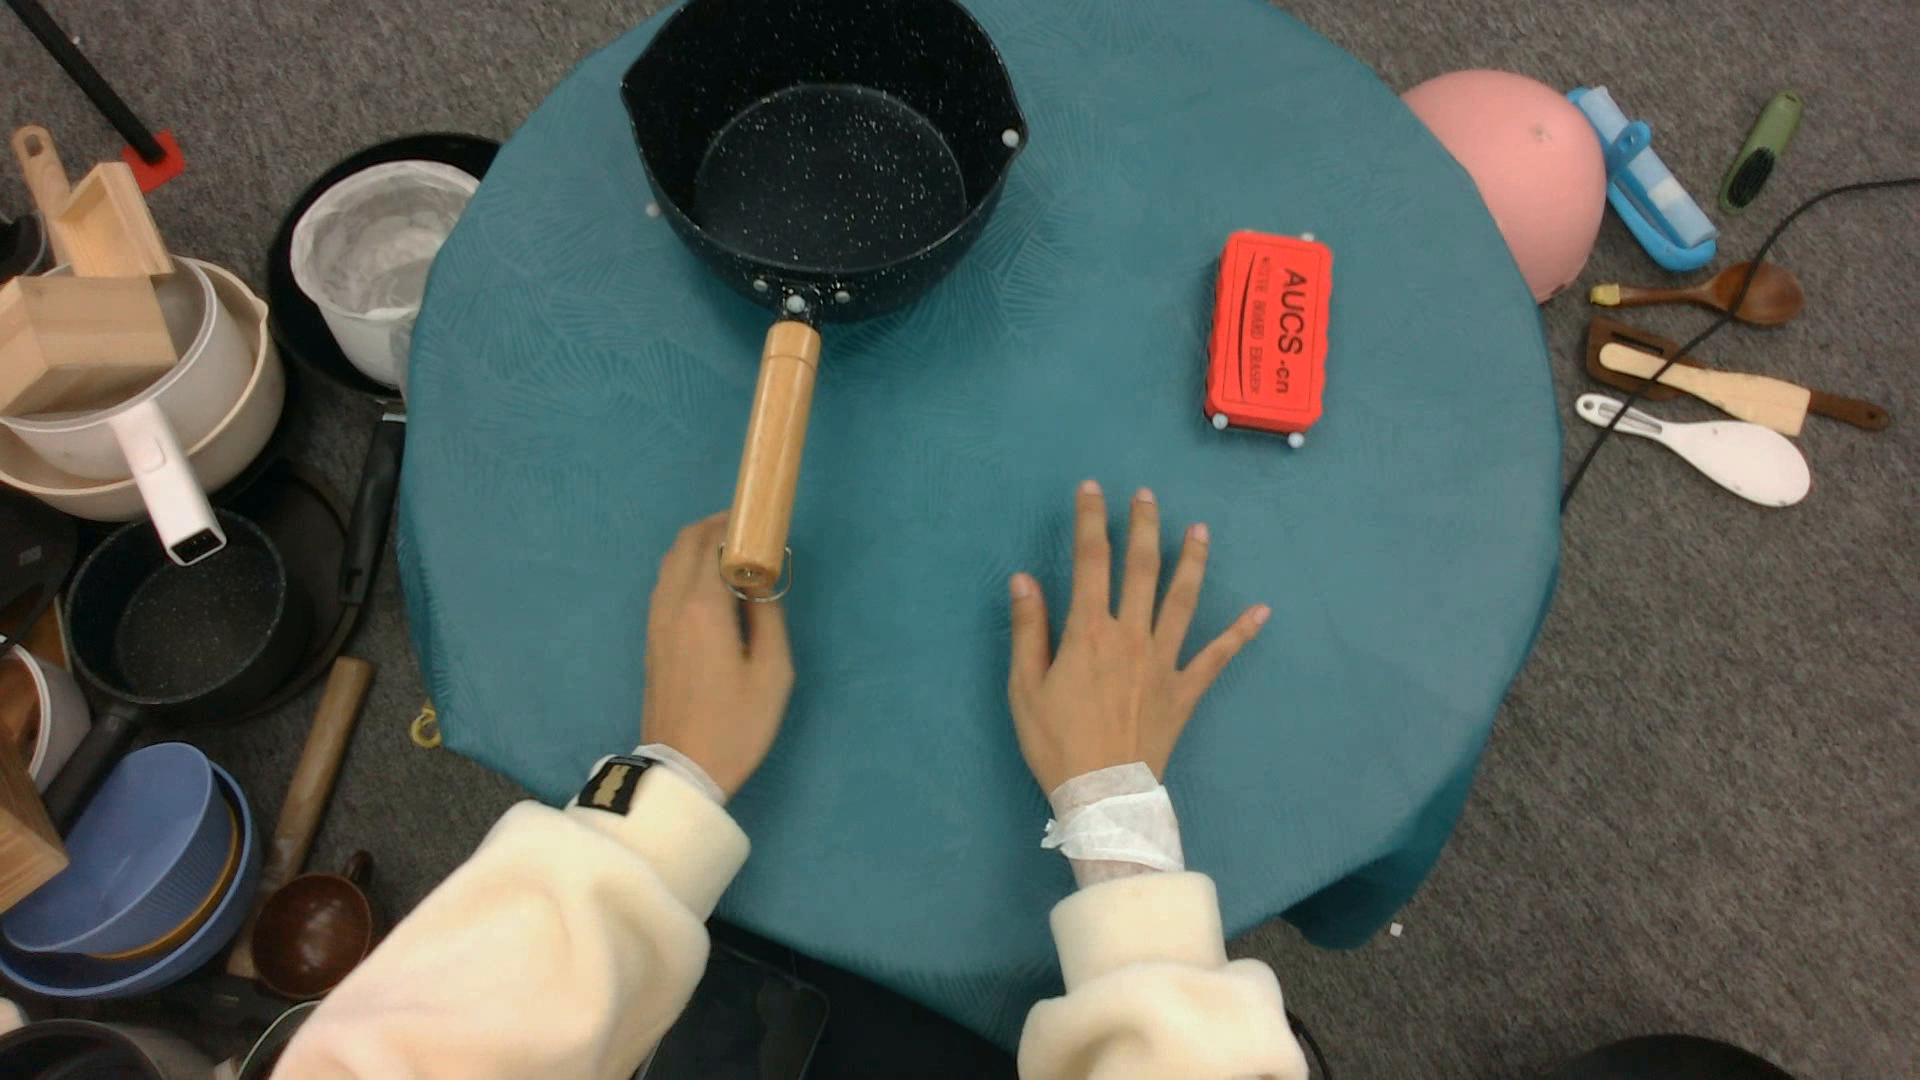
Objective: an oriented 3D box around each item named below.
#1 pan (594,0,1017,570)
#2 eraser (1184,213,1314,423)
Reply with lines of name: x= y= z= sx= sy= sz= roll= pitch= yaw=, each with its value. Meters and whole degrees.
pan: x=-0.081 y=-0.134 z=0.671 sx=0.207 sy=0.108 sz=0.344 roll=5 pitch=69 yaw=-3
eraser: x=0.153 y=-0.118 z=0.727 sx=0.059 sy=0.023 sz=0.108 roll=10 pitch=71 yaw=-2
